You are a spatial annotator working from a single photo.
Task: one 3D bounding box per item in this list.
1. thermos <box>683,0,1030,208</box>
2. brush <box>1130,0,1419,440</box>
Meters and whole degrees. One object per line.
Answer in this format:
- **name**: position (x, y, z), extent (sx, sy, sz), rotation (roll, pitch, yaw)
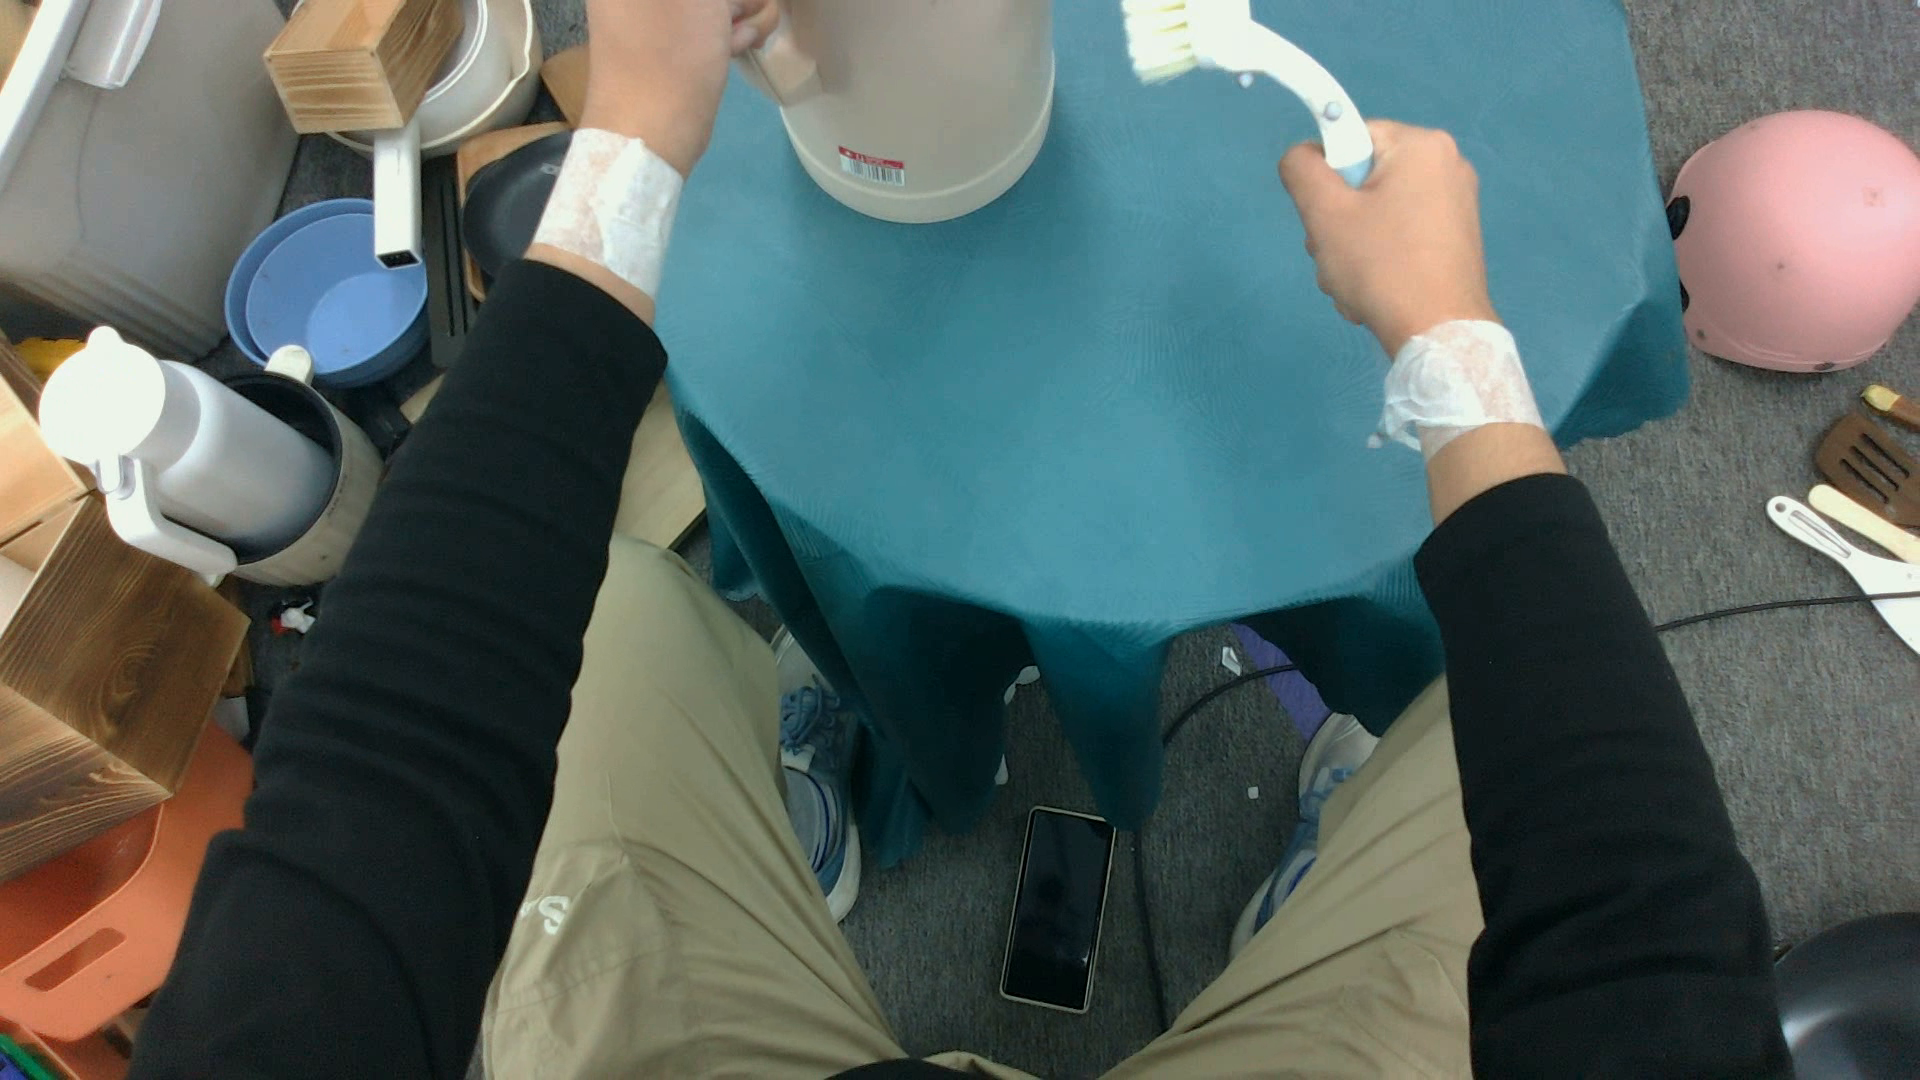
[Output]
- **thermos**: position (-0.054, -0.304, 0.622), extent (0.175, 0.405, 0.207), rotation (35, 79, 8)
- **brush**: position (0.129, -0.189, 0.643), extent (0.083, 0.084, 0.324), rotation (-28, 111, -21)
